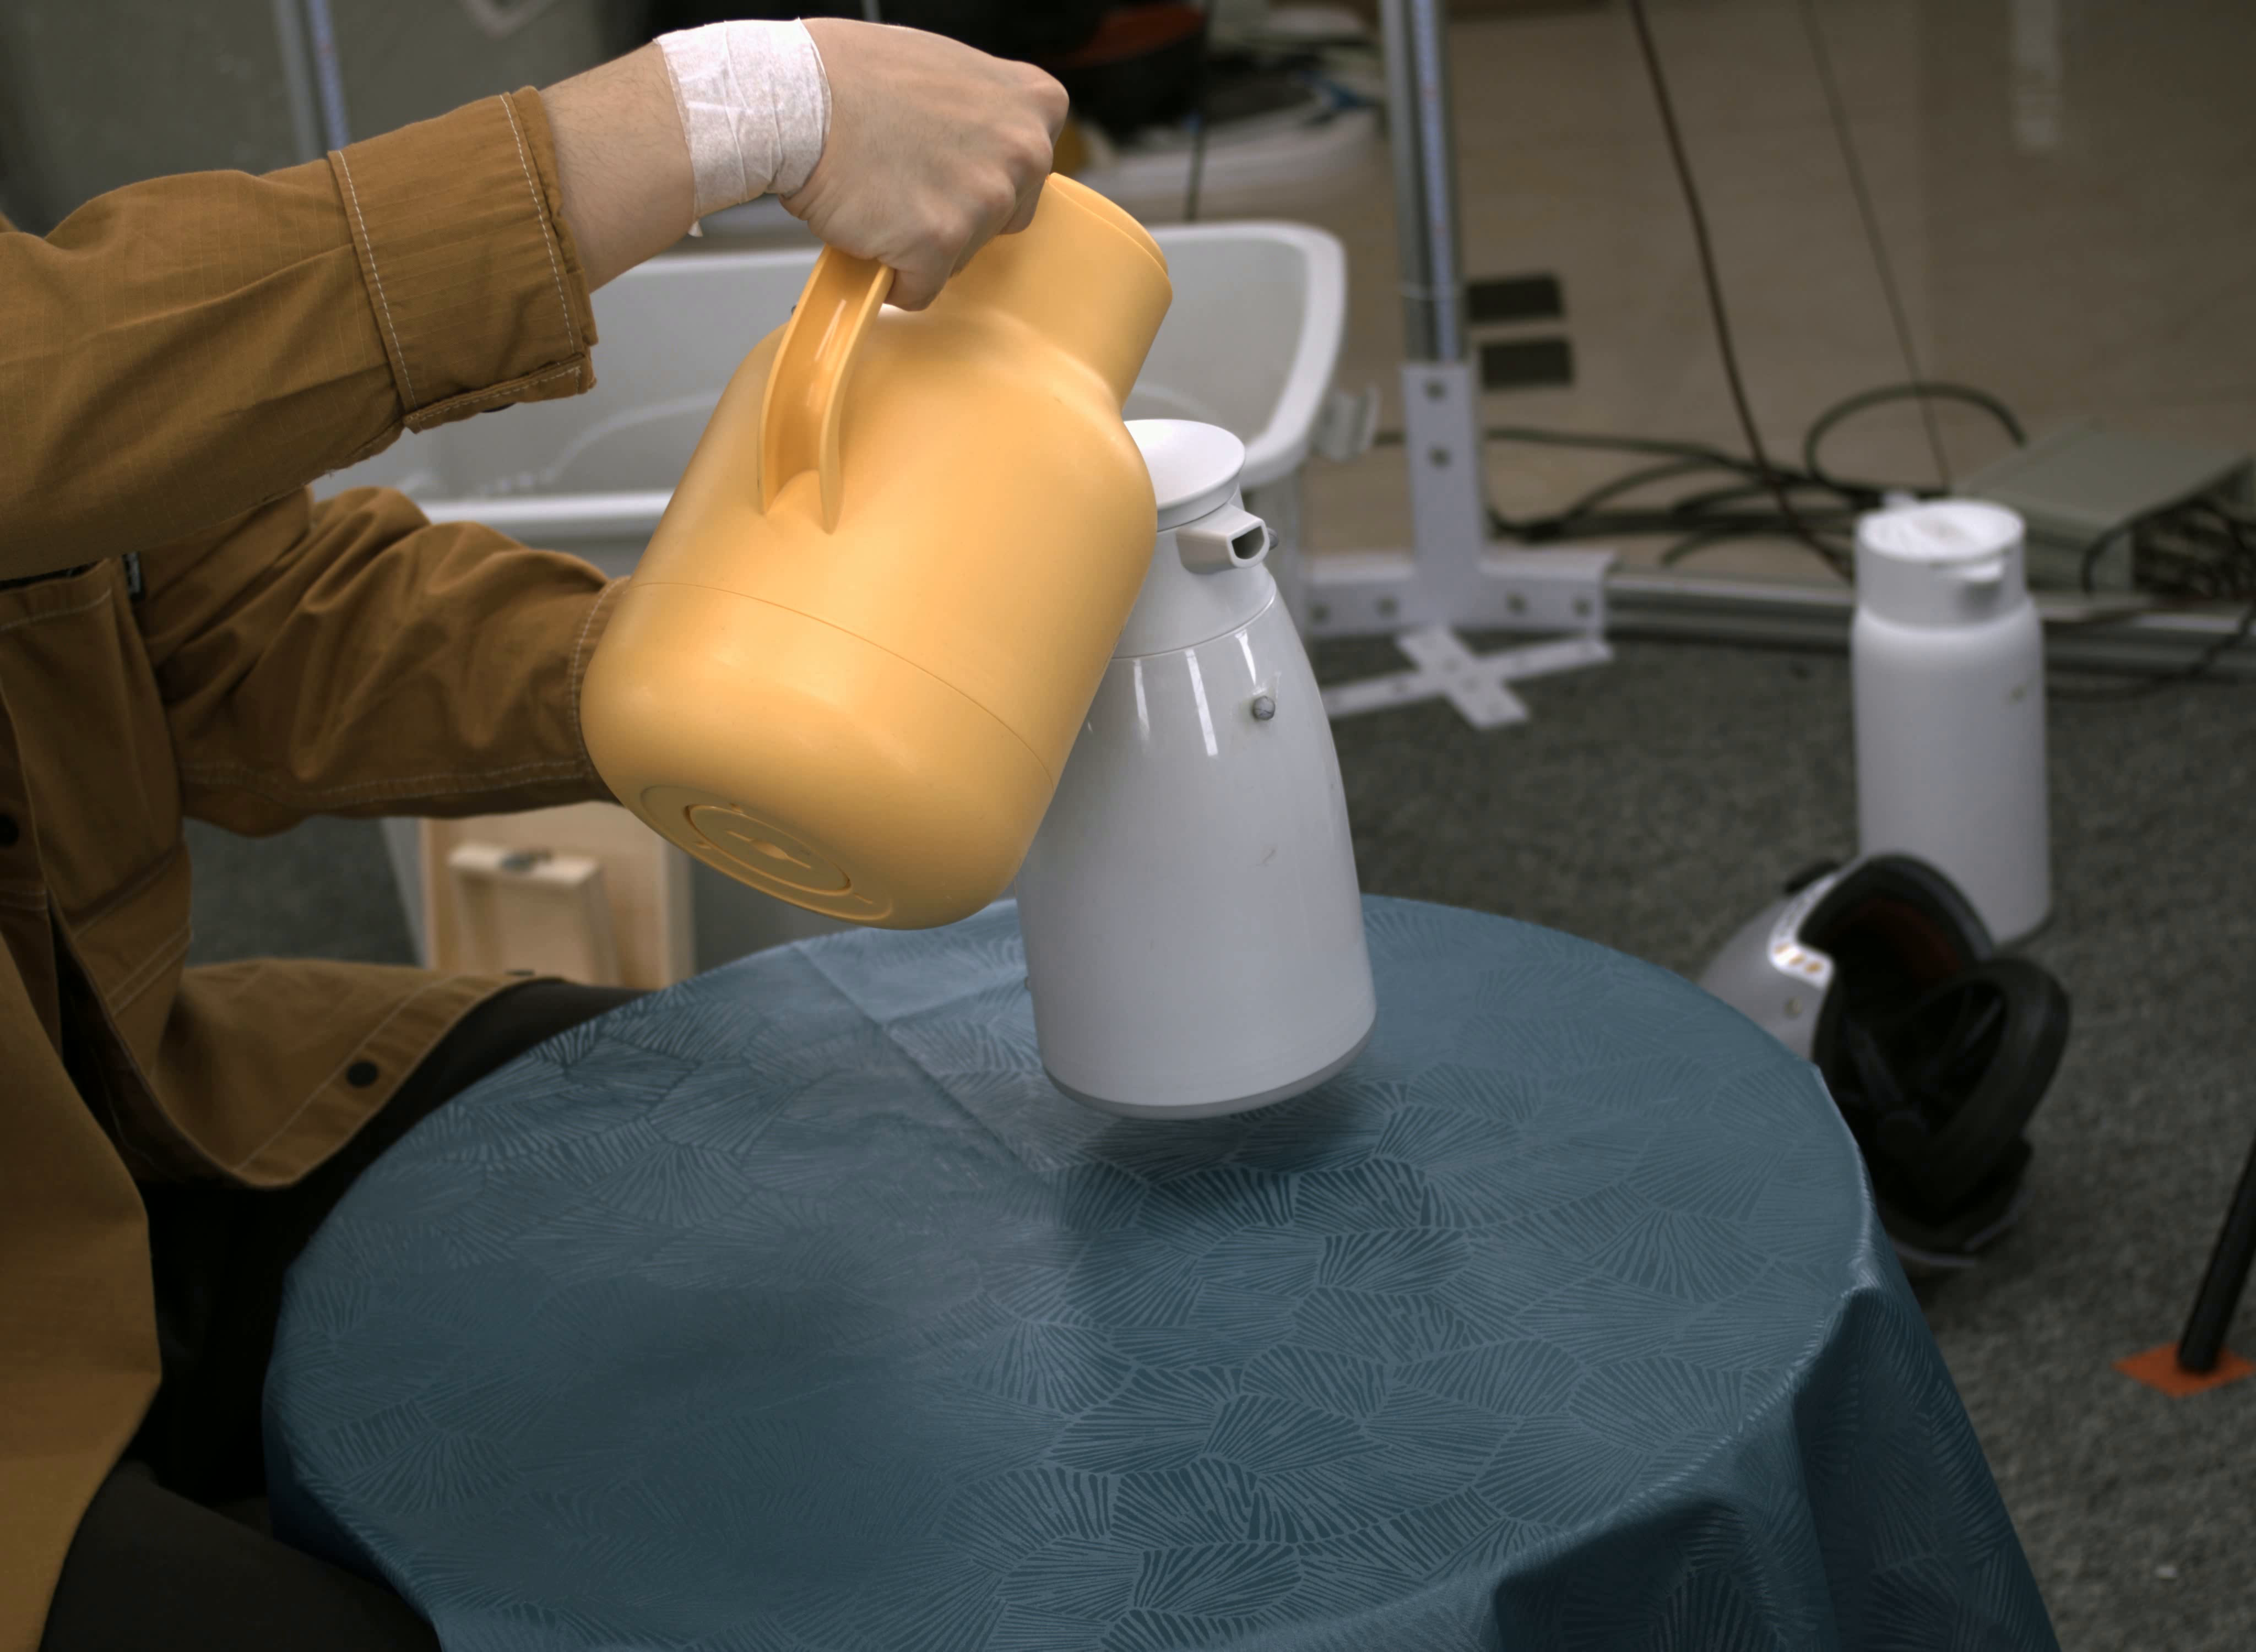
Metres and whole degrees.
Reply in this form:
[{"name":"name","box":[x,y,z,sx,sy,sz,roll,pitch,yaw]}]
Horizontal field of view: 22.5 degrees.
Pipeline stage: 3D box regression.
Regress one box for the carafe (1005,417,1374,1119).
[{"name":"carafe","box":[0.000,-0.032,2.149,0.166,0.252,0.131,16,35,42]}]

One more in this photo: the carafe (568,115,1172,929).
[{"name":"carafe","box":[-0.083,-0.113,1.939,0.162,0.205,0.258,16,70,25]}]
